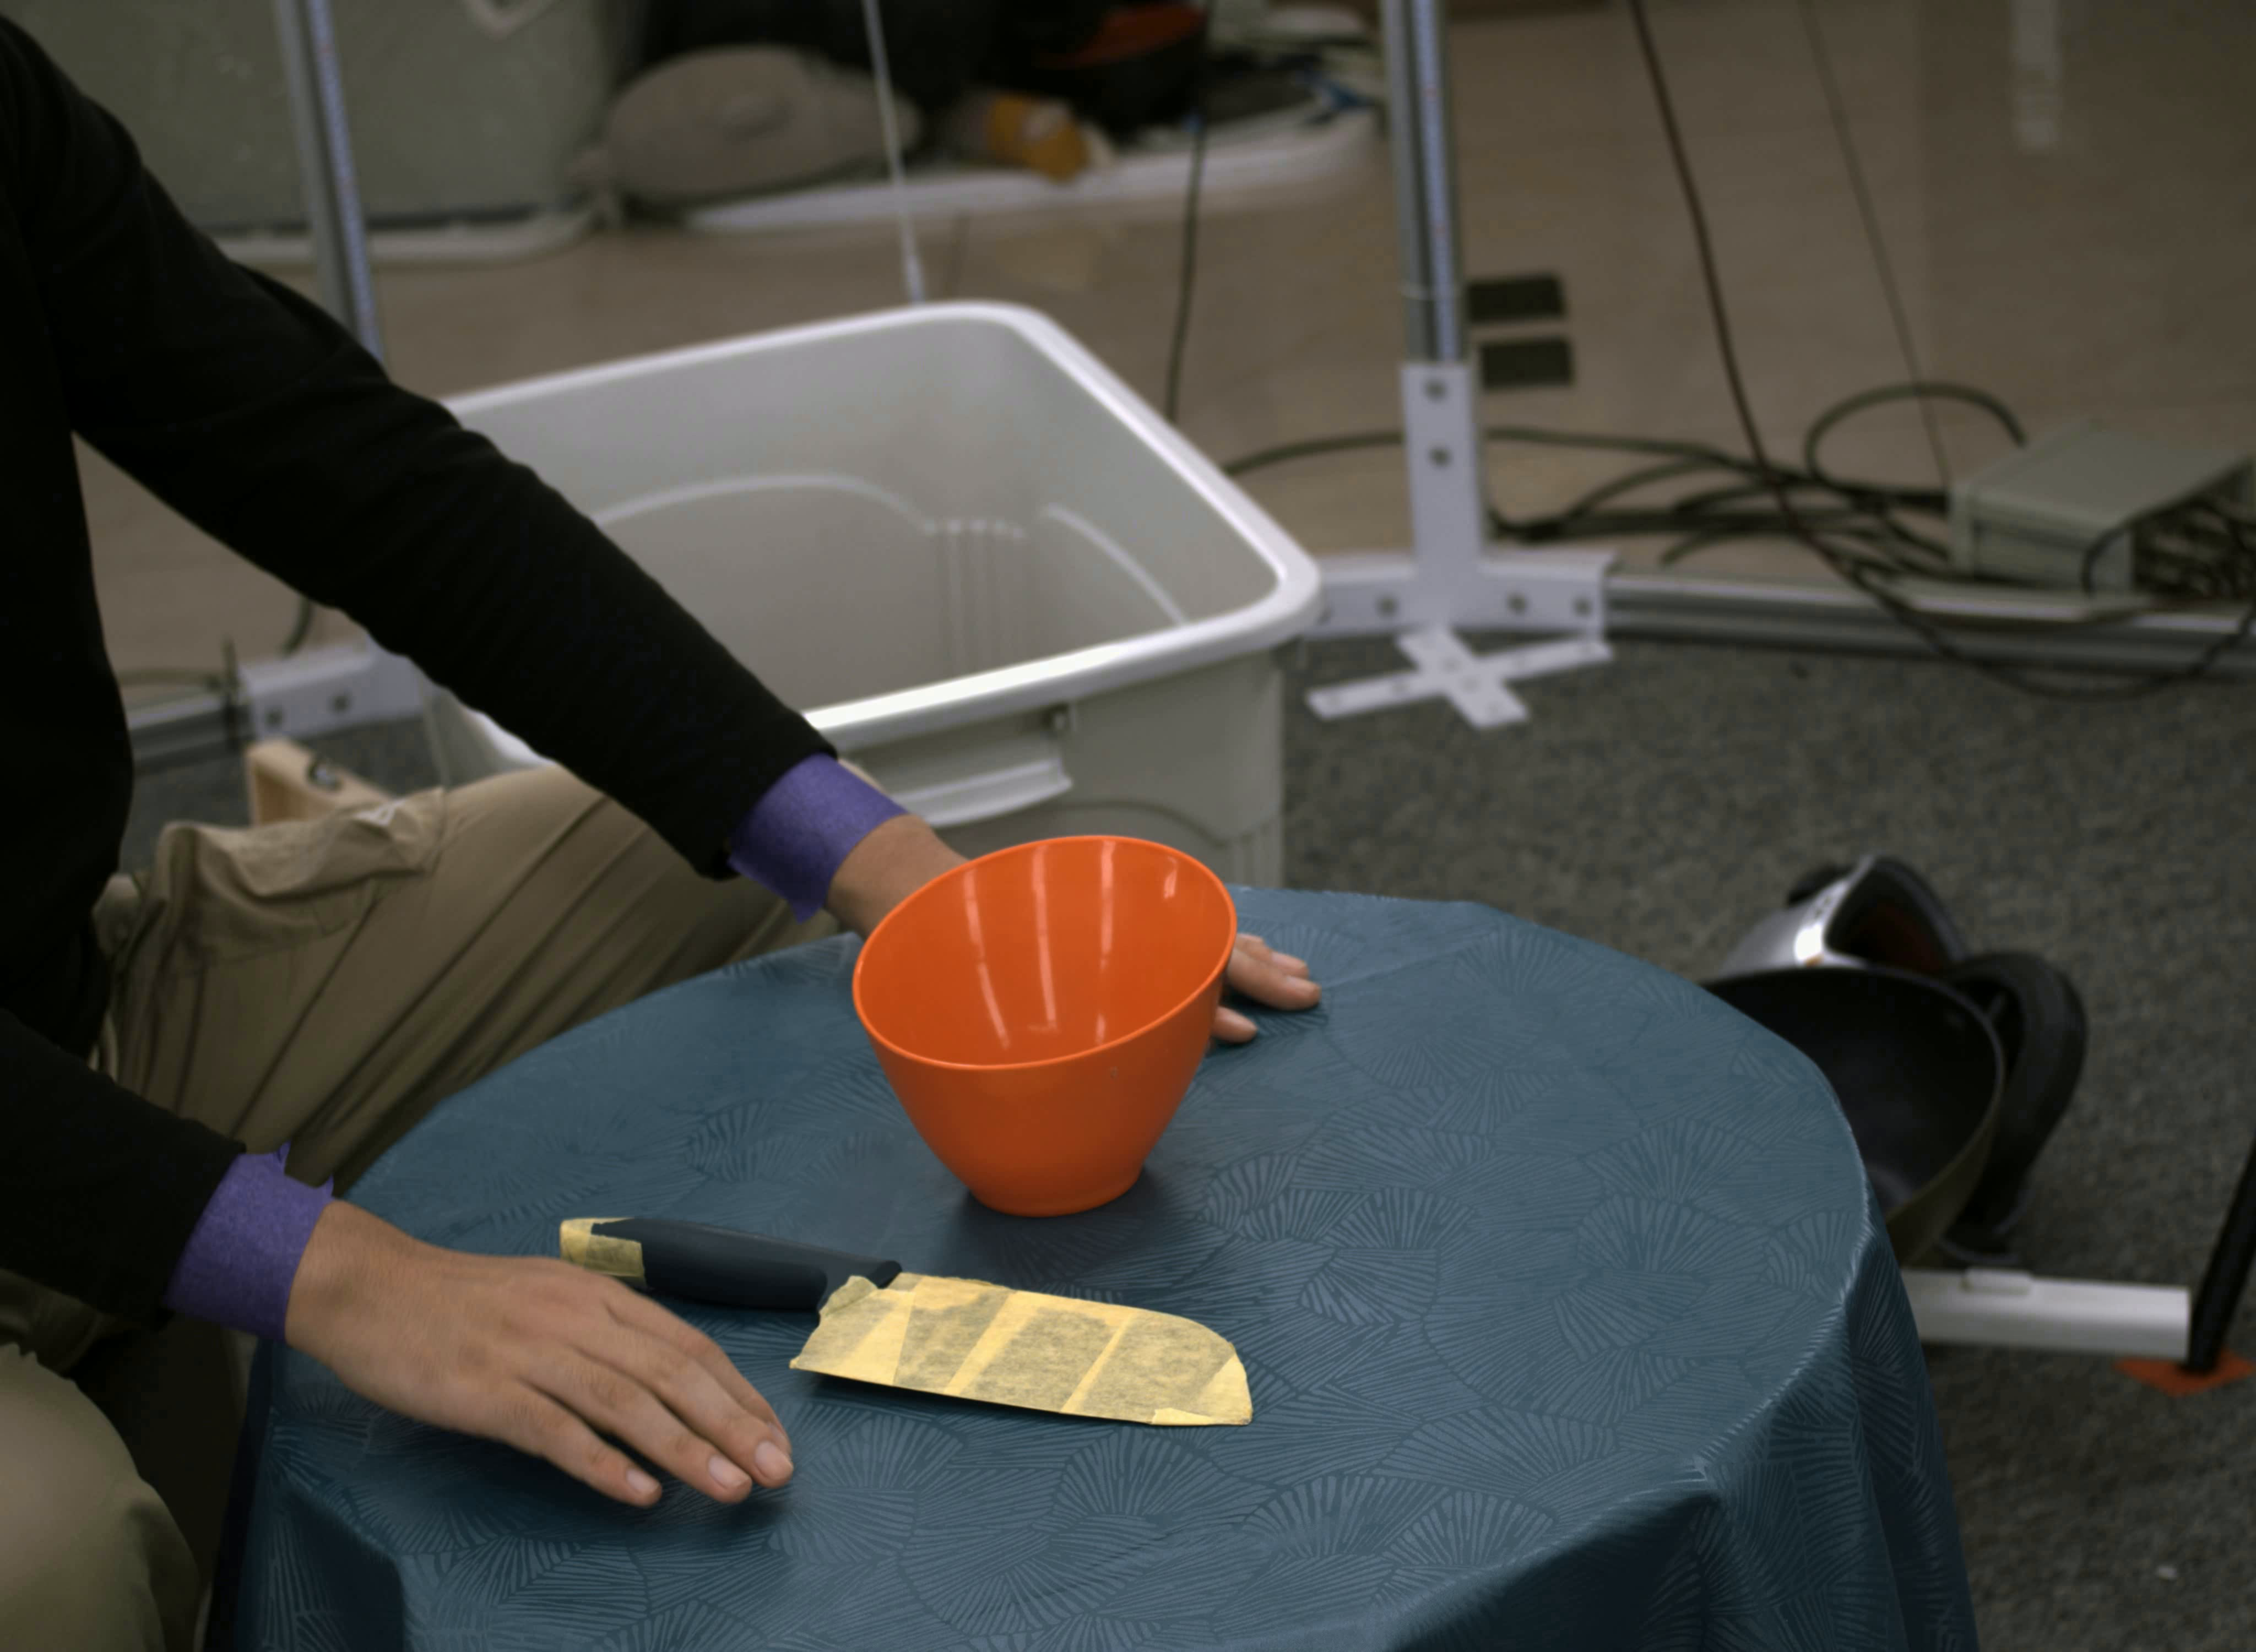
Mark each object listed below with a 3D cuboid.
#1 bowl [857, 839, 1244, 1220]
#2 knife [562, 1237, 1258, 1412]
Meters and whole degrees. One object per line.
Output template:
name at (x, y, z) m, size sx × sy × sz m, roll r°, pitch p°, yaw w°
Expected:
bowl at (-0.026, 0.084, 2.153) m, size 0.148 × 0.106 × 0.146 m, roll -4°, pitch 27°, yaw 2°
knife at (-0.085, 0.182, 2.061) m, size 0.288 × 0.027 × 0.080 m, roll 7°, pitch 26°, yaw 24°
